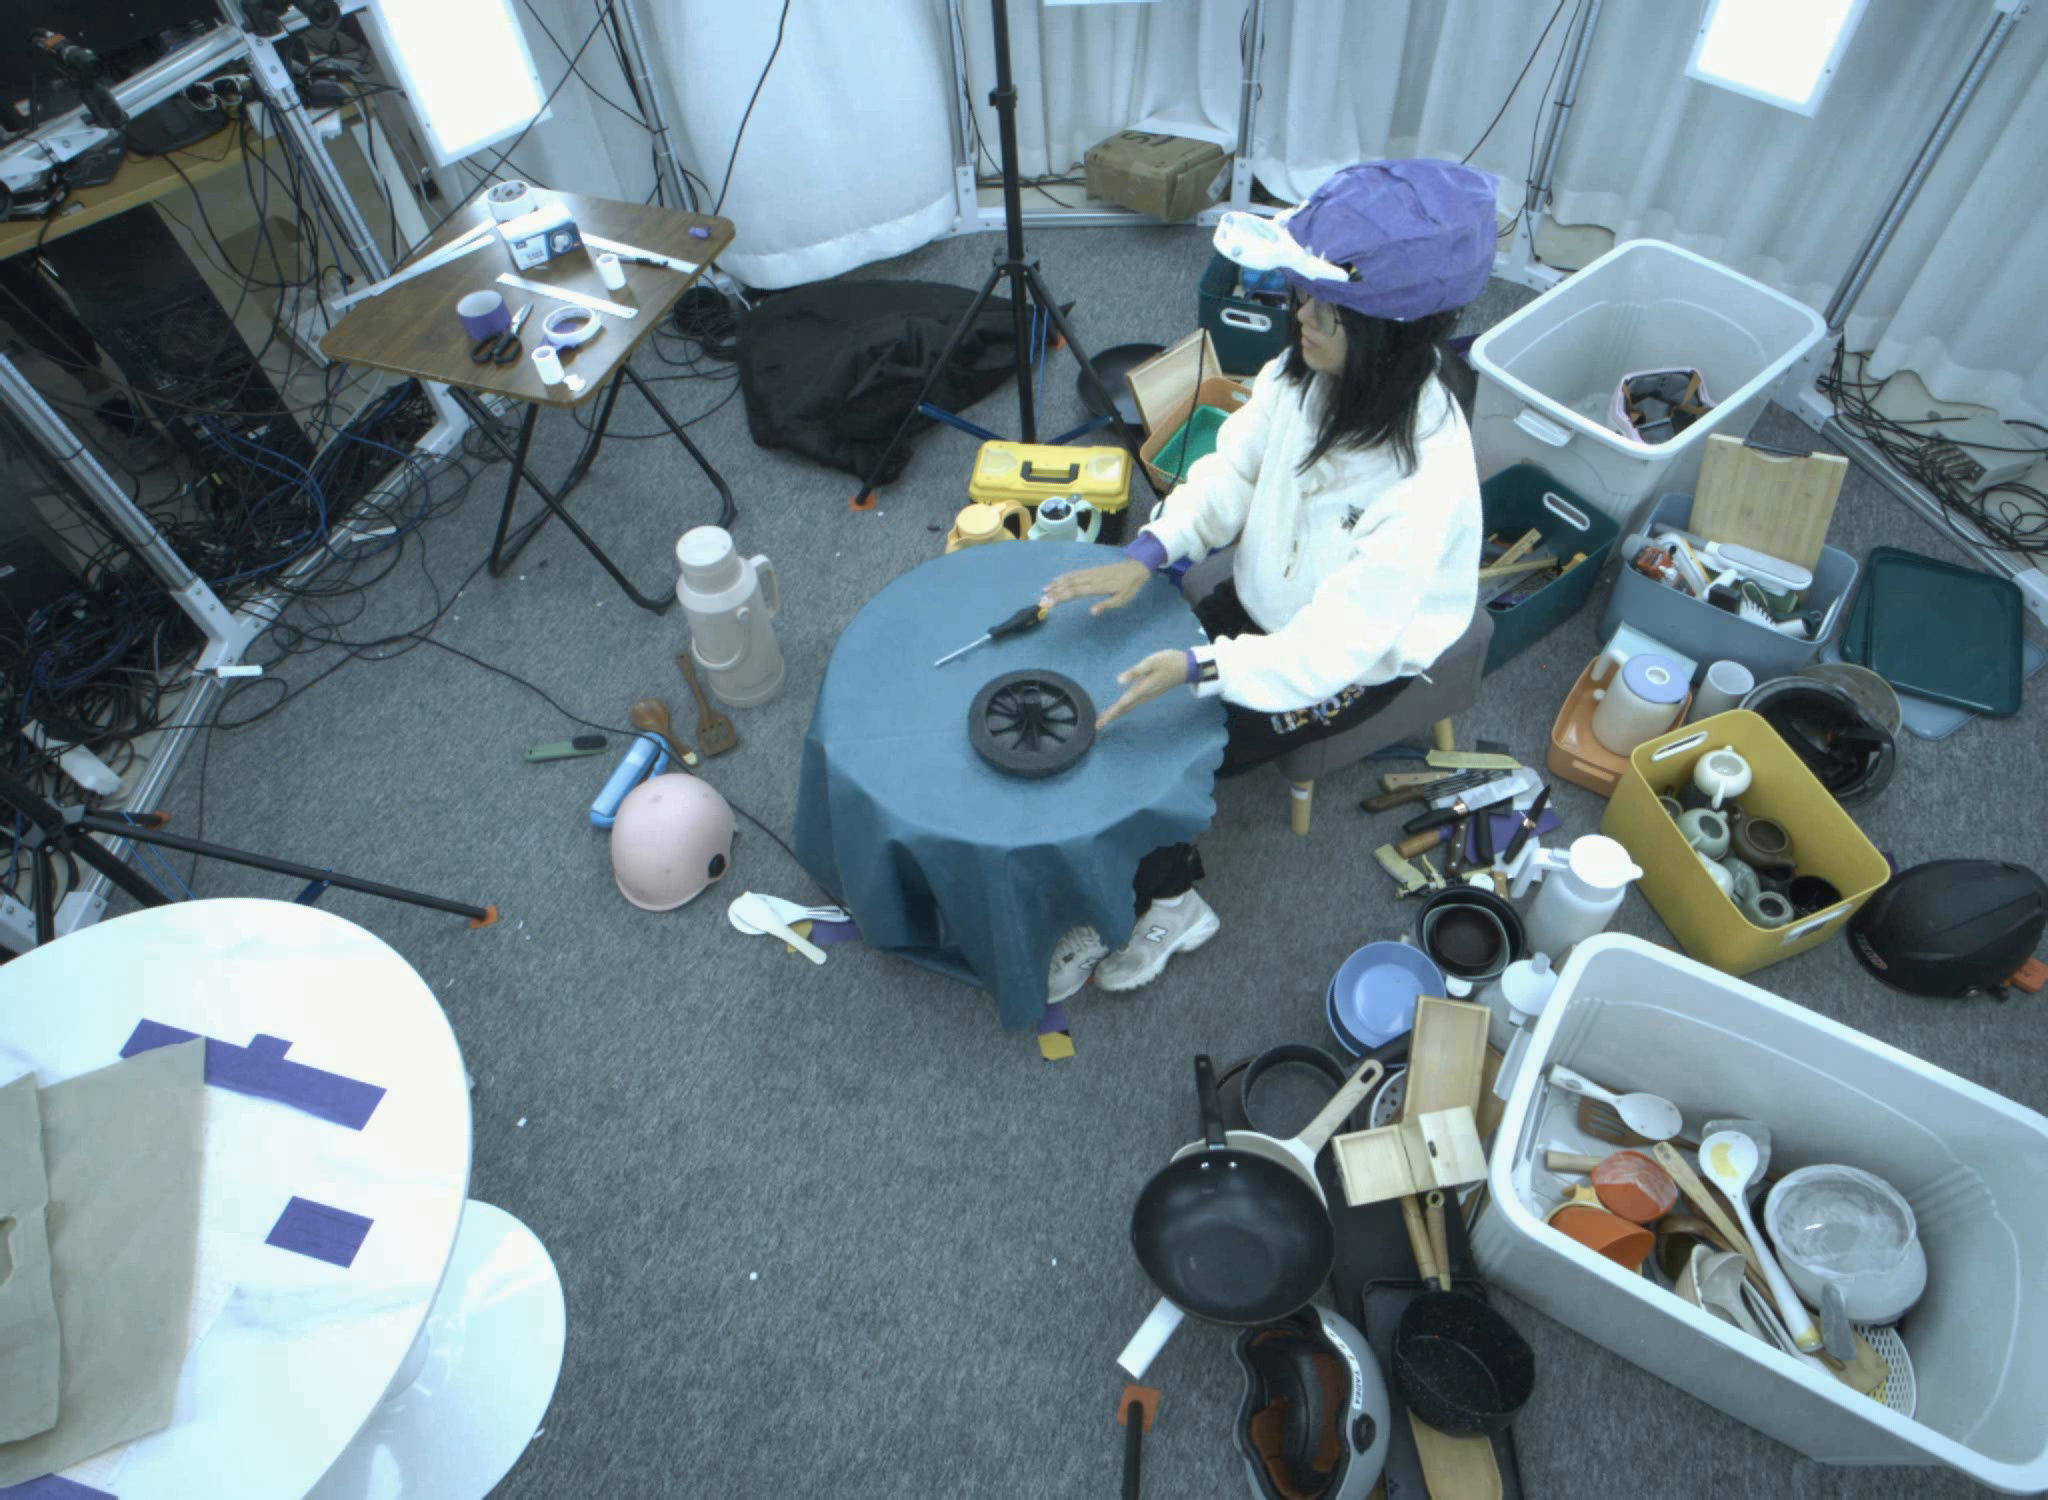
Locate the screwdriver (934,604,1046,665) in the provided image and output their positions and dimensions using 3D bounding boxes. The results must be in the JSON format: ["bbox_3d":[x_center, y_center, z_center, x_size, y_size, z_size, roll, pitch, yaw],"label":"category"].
[{"bbox_3d":[-0.052,-0.175,1.898,0.197,0.032,0.031,-30,59,-15],"label":"screwdriver"}]

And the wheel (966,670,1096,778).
[{"bbox_3d":[0.008,-0.053,1.779,0.188,0.080,0.187,12,56,10],"label":"wheel"}]
